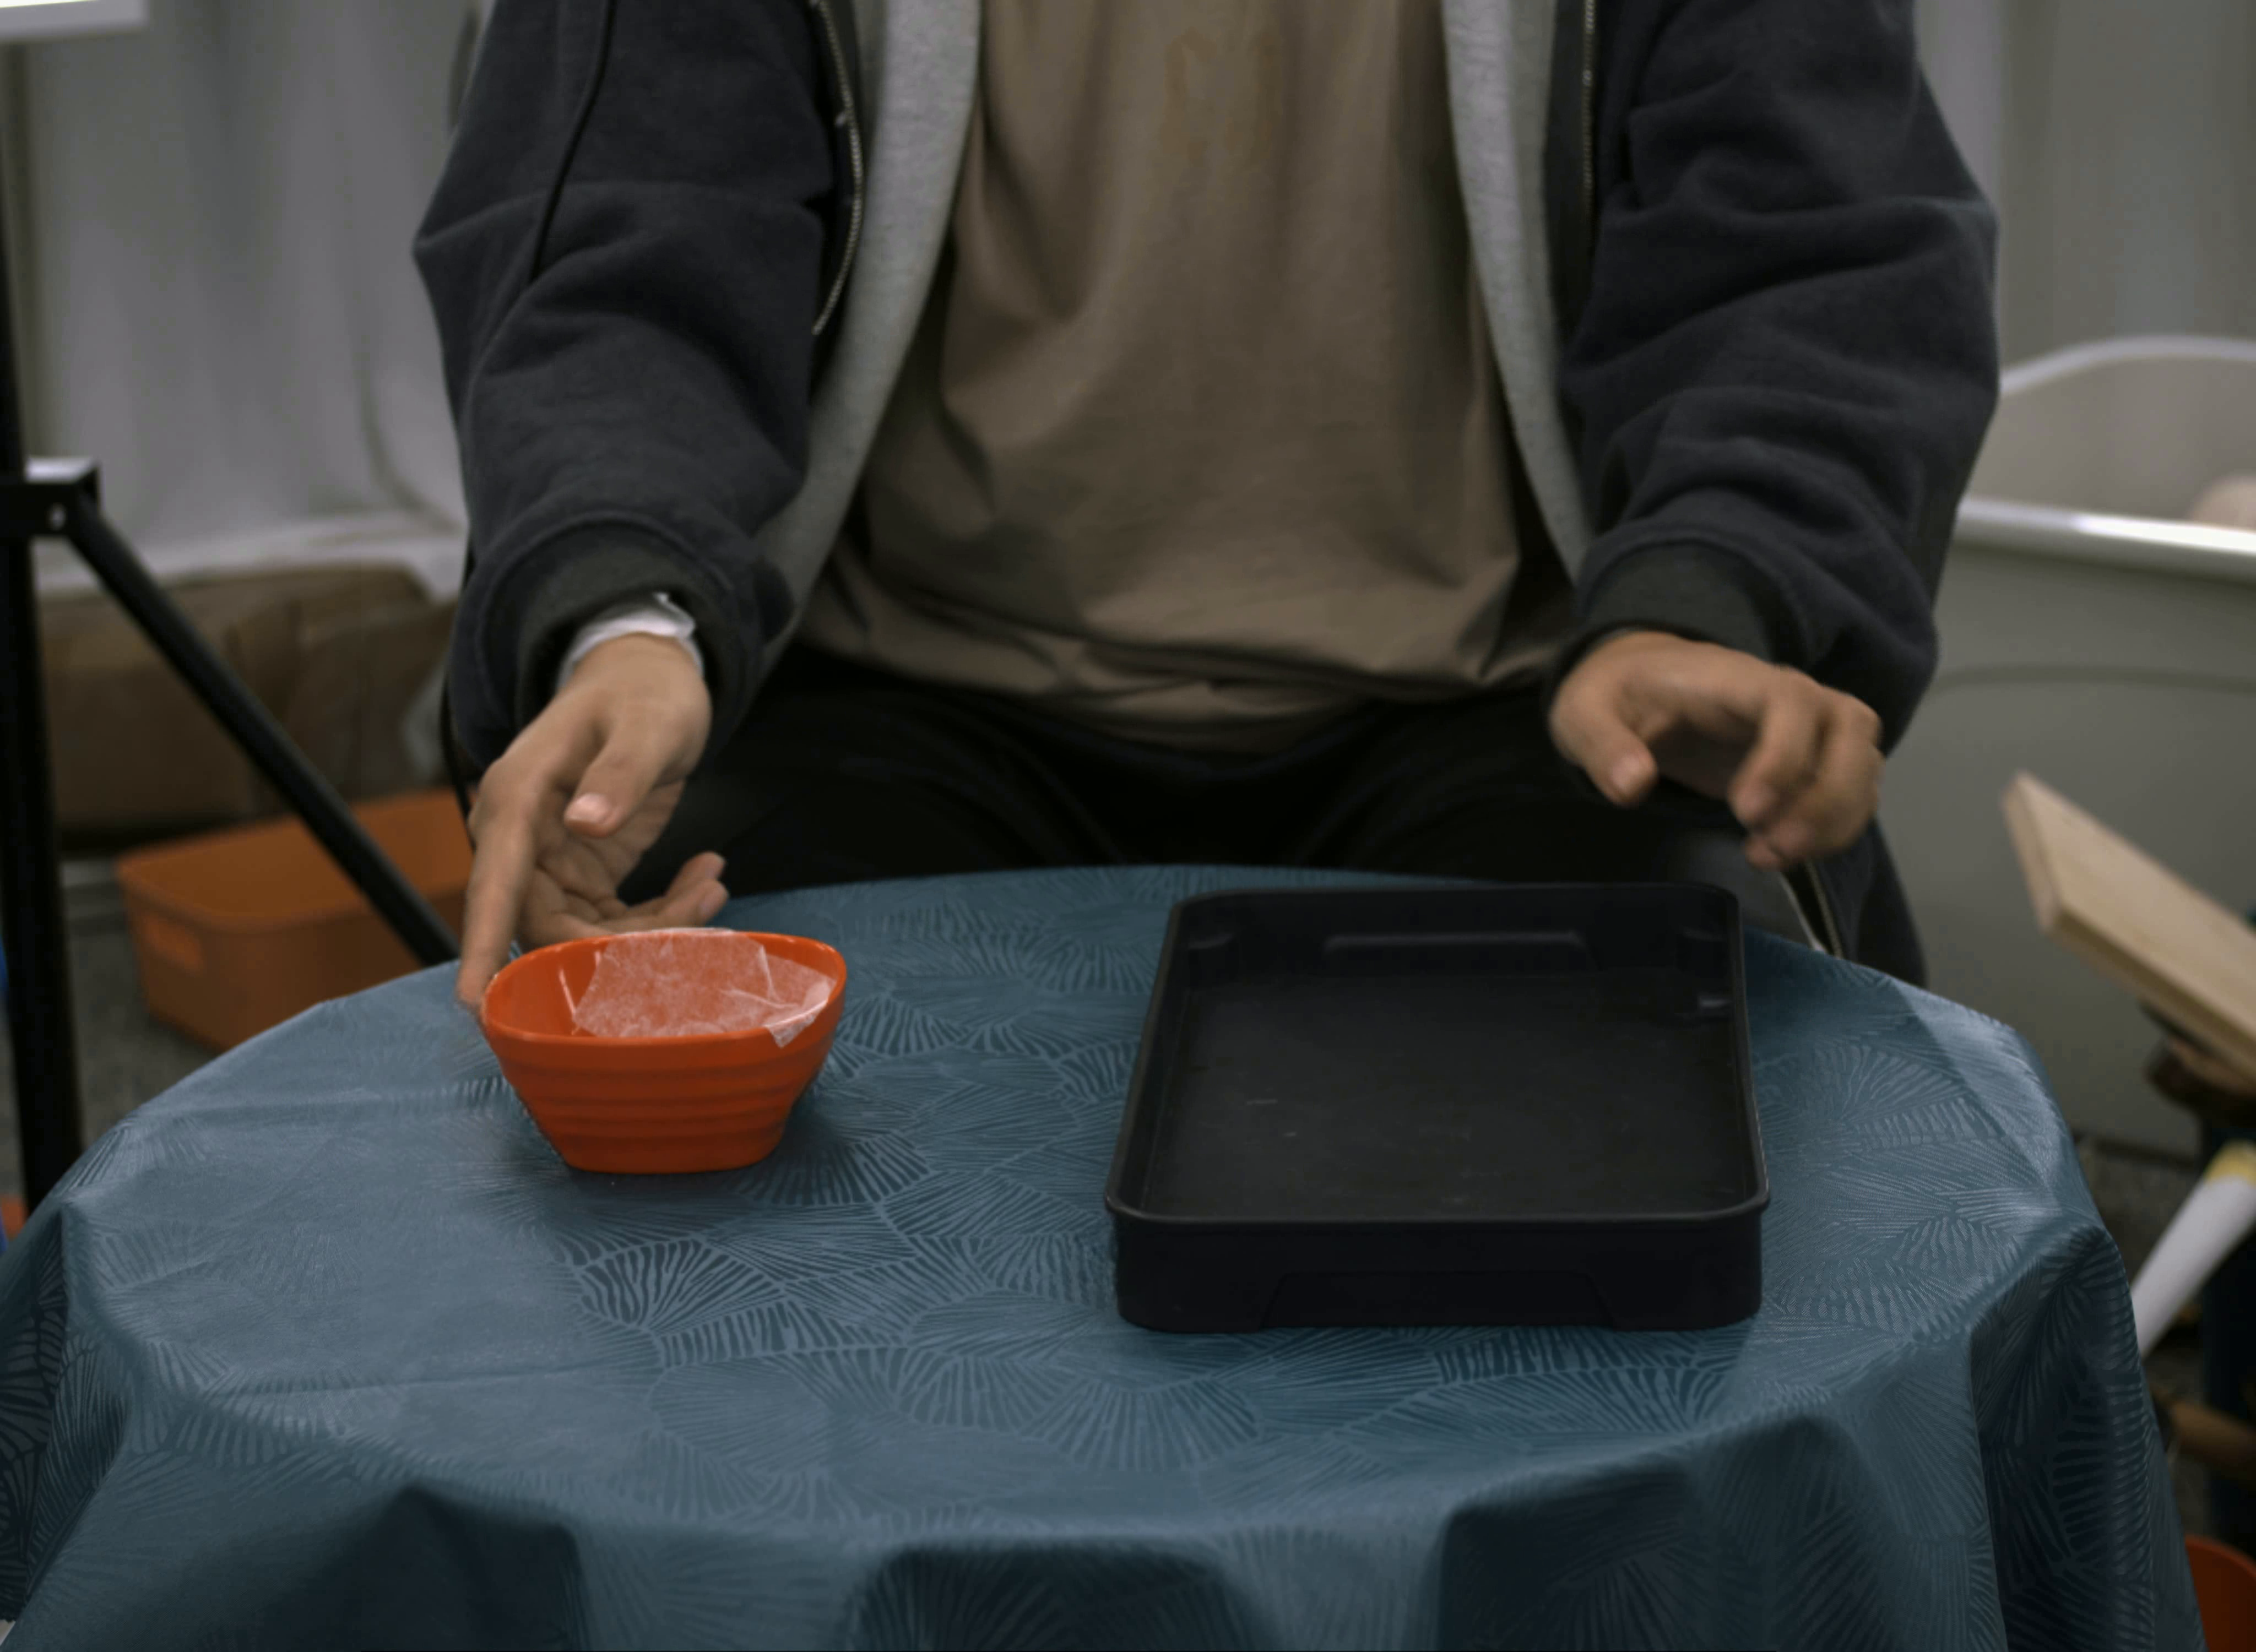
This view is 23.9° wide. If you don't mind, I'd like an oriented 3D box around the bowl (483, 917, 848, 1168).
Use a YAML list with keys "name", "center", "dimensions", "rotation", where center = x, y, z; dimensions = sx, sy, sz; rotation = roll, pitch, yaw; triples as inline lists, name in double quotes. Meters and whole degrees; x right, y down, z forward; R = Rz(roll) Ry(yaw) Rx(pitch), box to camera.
- name: "bowl"
  center: [-0.139, 0.068, 1.621]
  dimensions: [0.118, 0.051, 0.119]
  rotation: [-4, 18, 0]

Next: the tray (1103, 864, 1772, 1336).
- name: "tray"
  center: [0.094, 0.077, 1.583]
  dimensions: [0.184, 0.037, 0.318]
  rotation: [-1, 17, 5]
